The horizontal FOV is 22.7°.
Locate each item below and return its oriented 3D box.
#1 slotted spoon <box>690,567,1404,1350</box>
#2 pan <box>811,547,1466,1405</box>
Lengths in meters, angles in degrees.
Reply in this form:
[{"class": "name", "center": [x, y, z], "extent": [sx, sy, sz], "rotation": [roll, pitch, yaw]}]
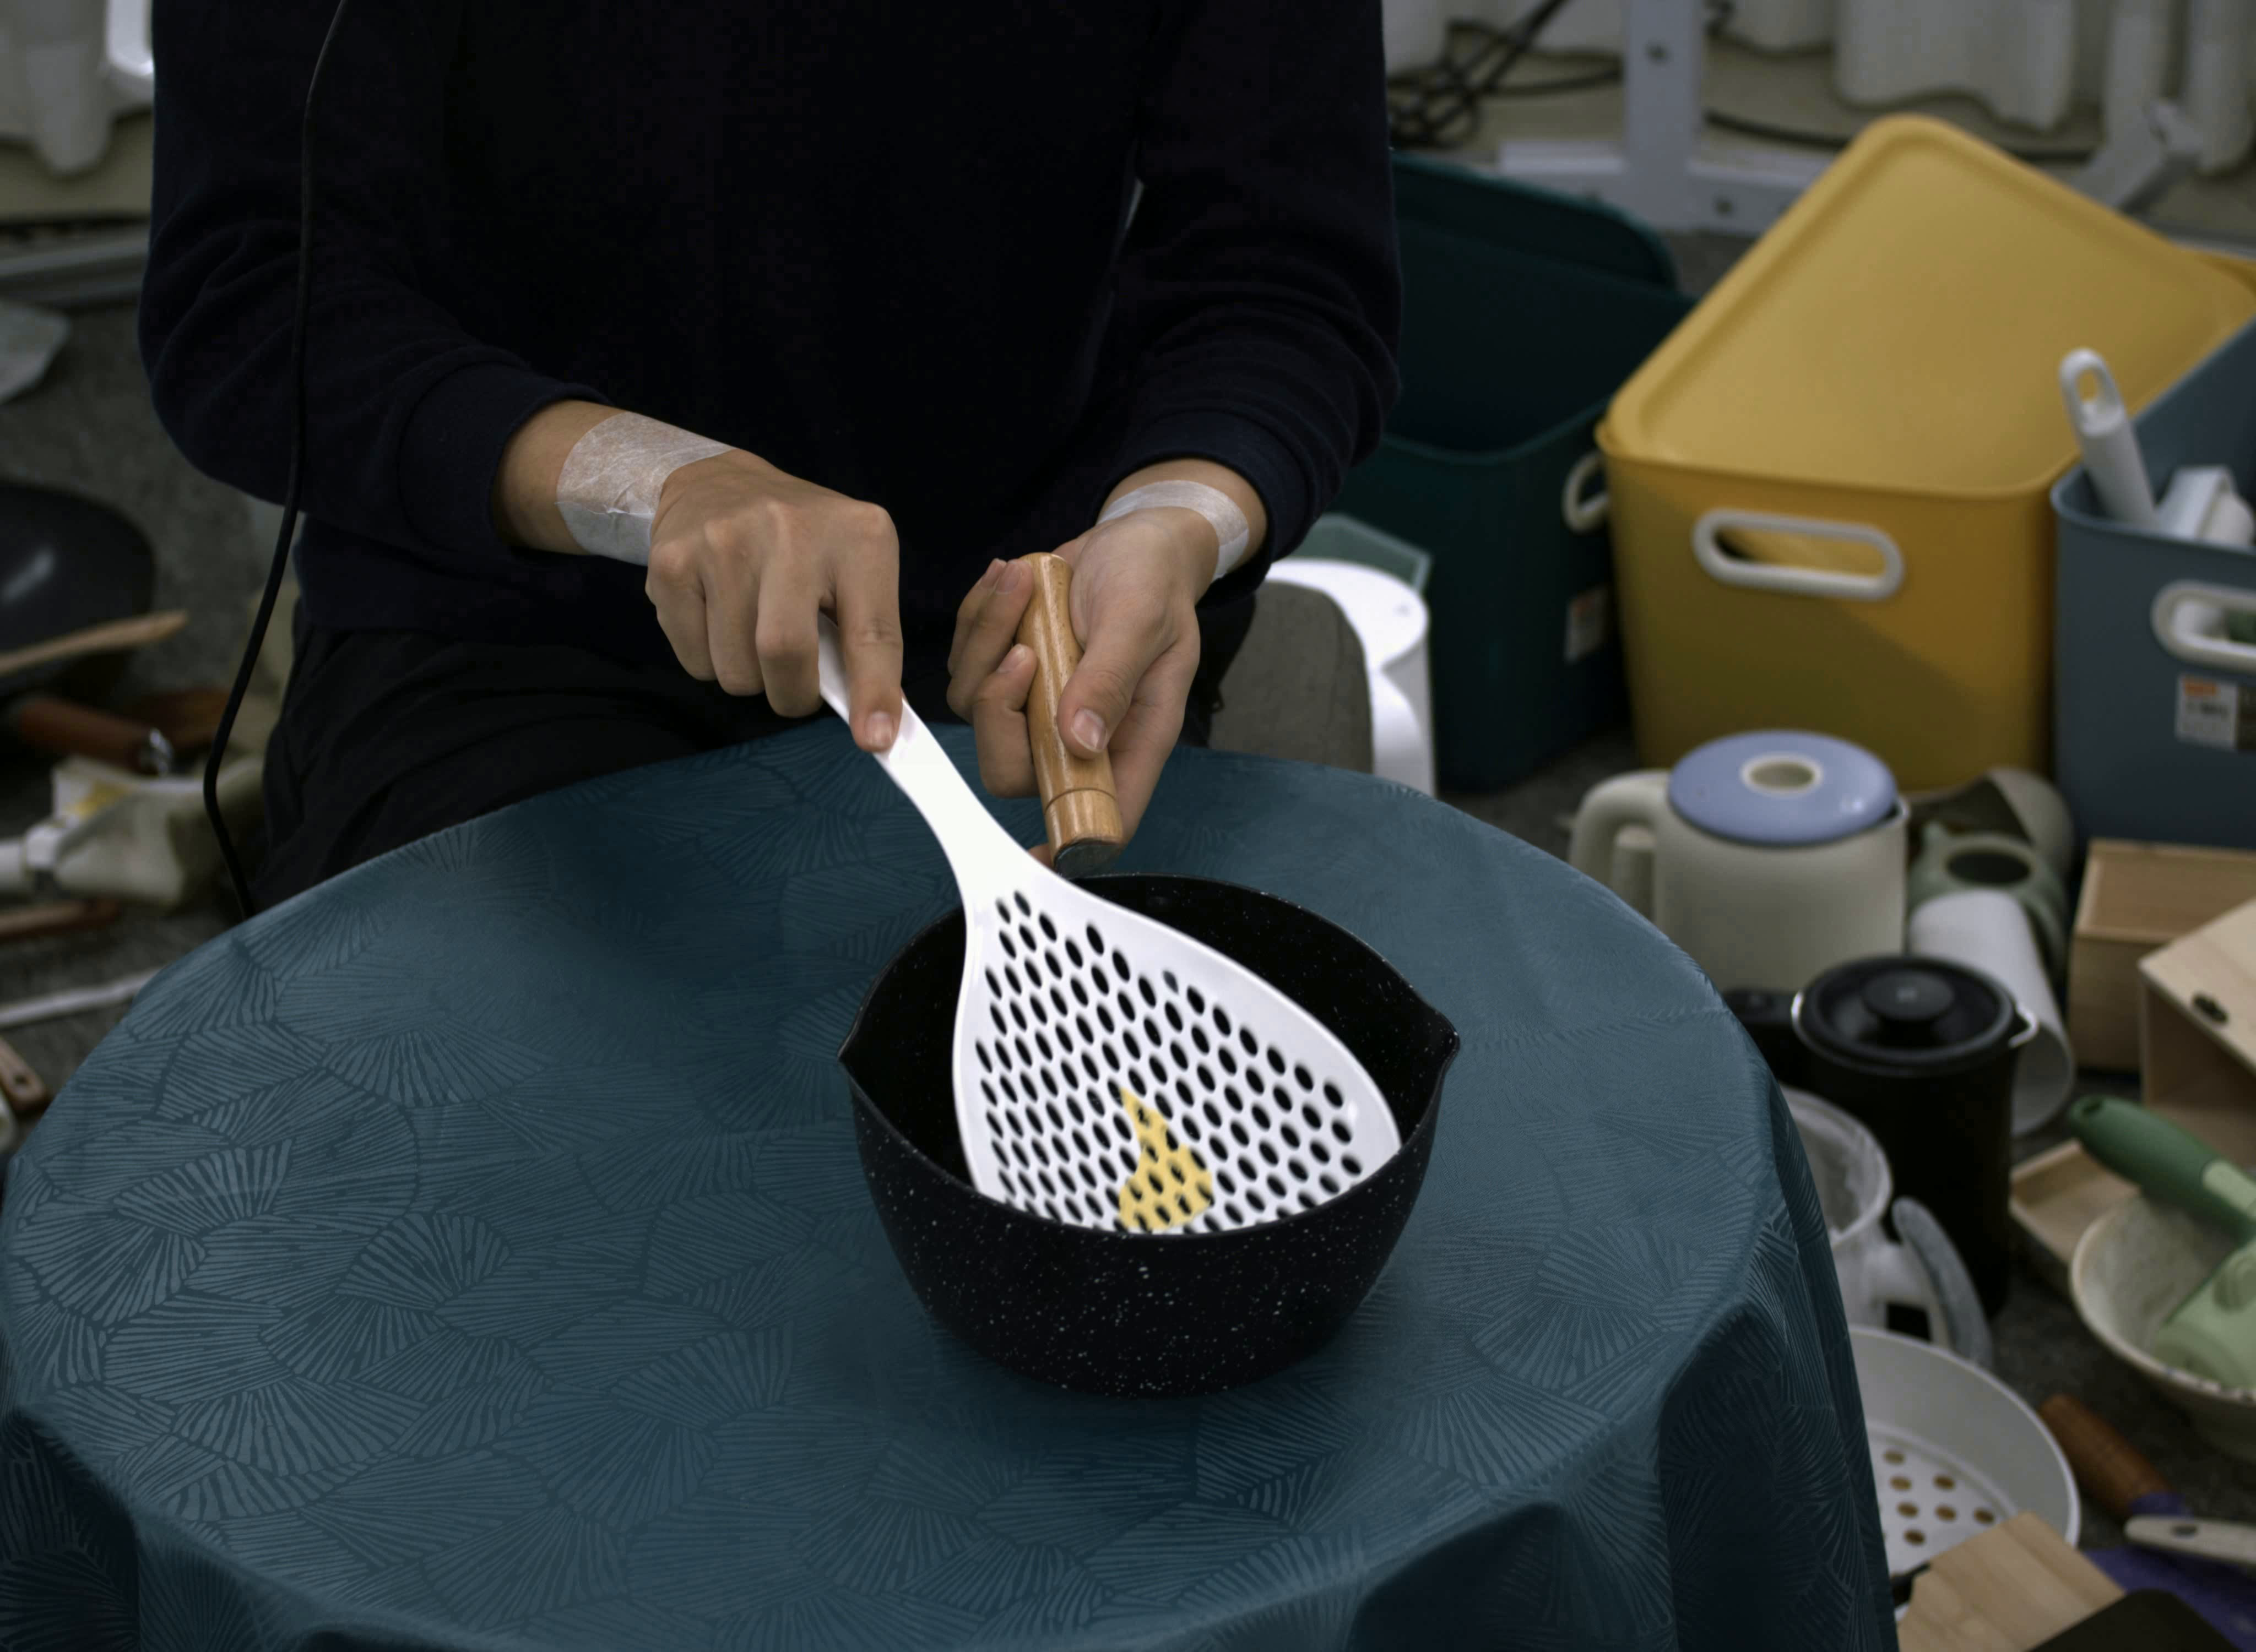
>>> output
[{"class": "slotted spoon", "center": [-0.042, 0.031, 1.821], "extent": [0.138, 0.049, 0.351], "rotation": [-25, 65, -22]}, {"class": "pan", "center": [-0.009, 0.047, 1.843], "extent": [0.207, 0.106, 0.348], "rotation": [-4, 37, -9]}]
